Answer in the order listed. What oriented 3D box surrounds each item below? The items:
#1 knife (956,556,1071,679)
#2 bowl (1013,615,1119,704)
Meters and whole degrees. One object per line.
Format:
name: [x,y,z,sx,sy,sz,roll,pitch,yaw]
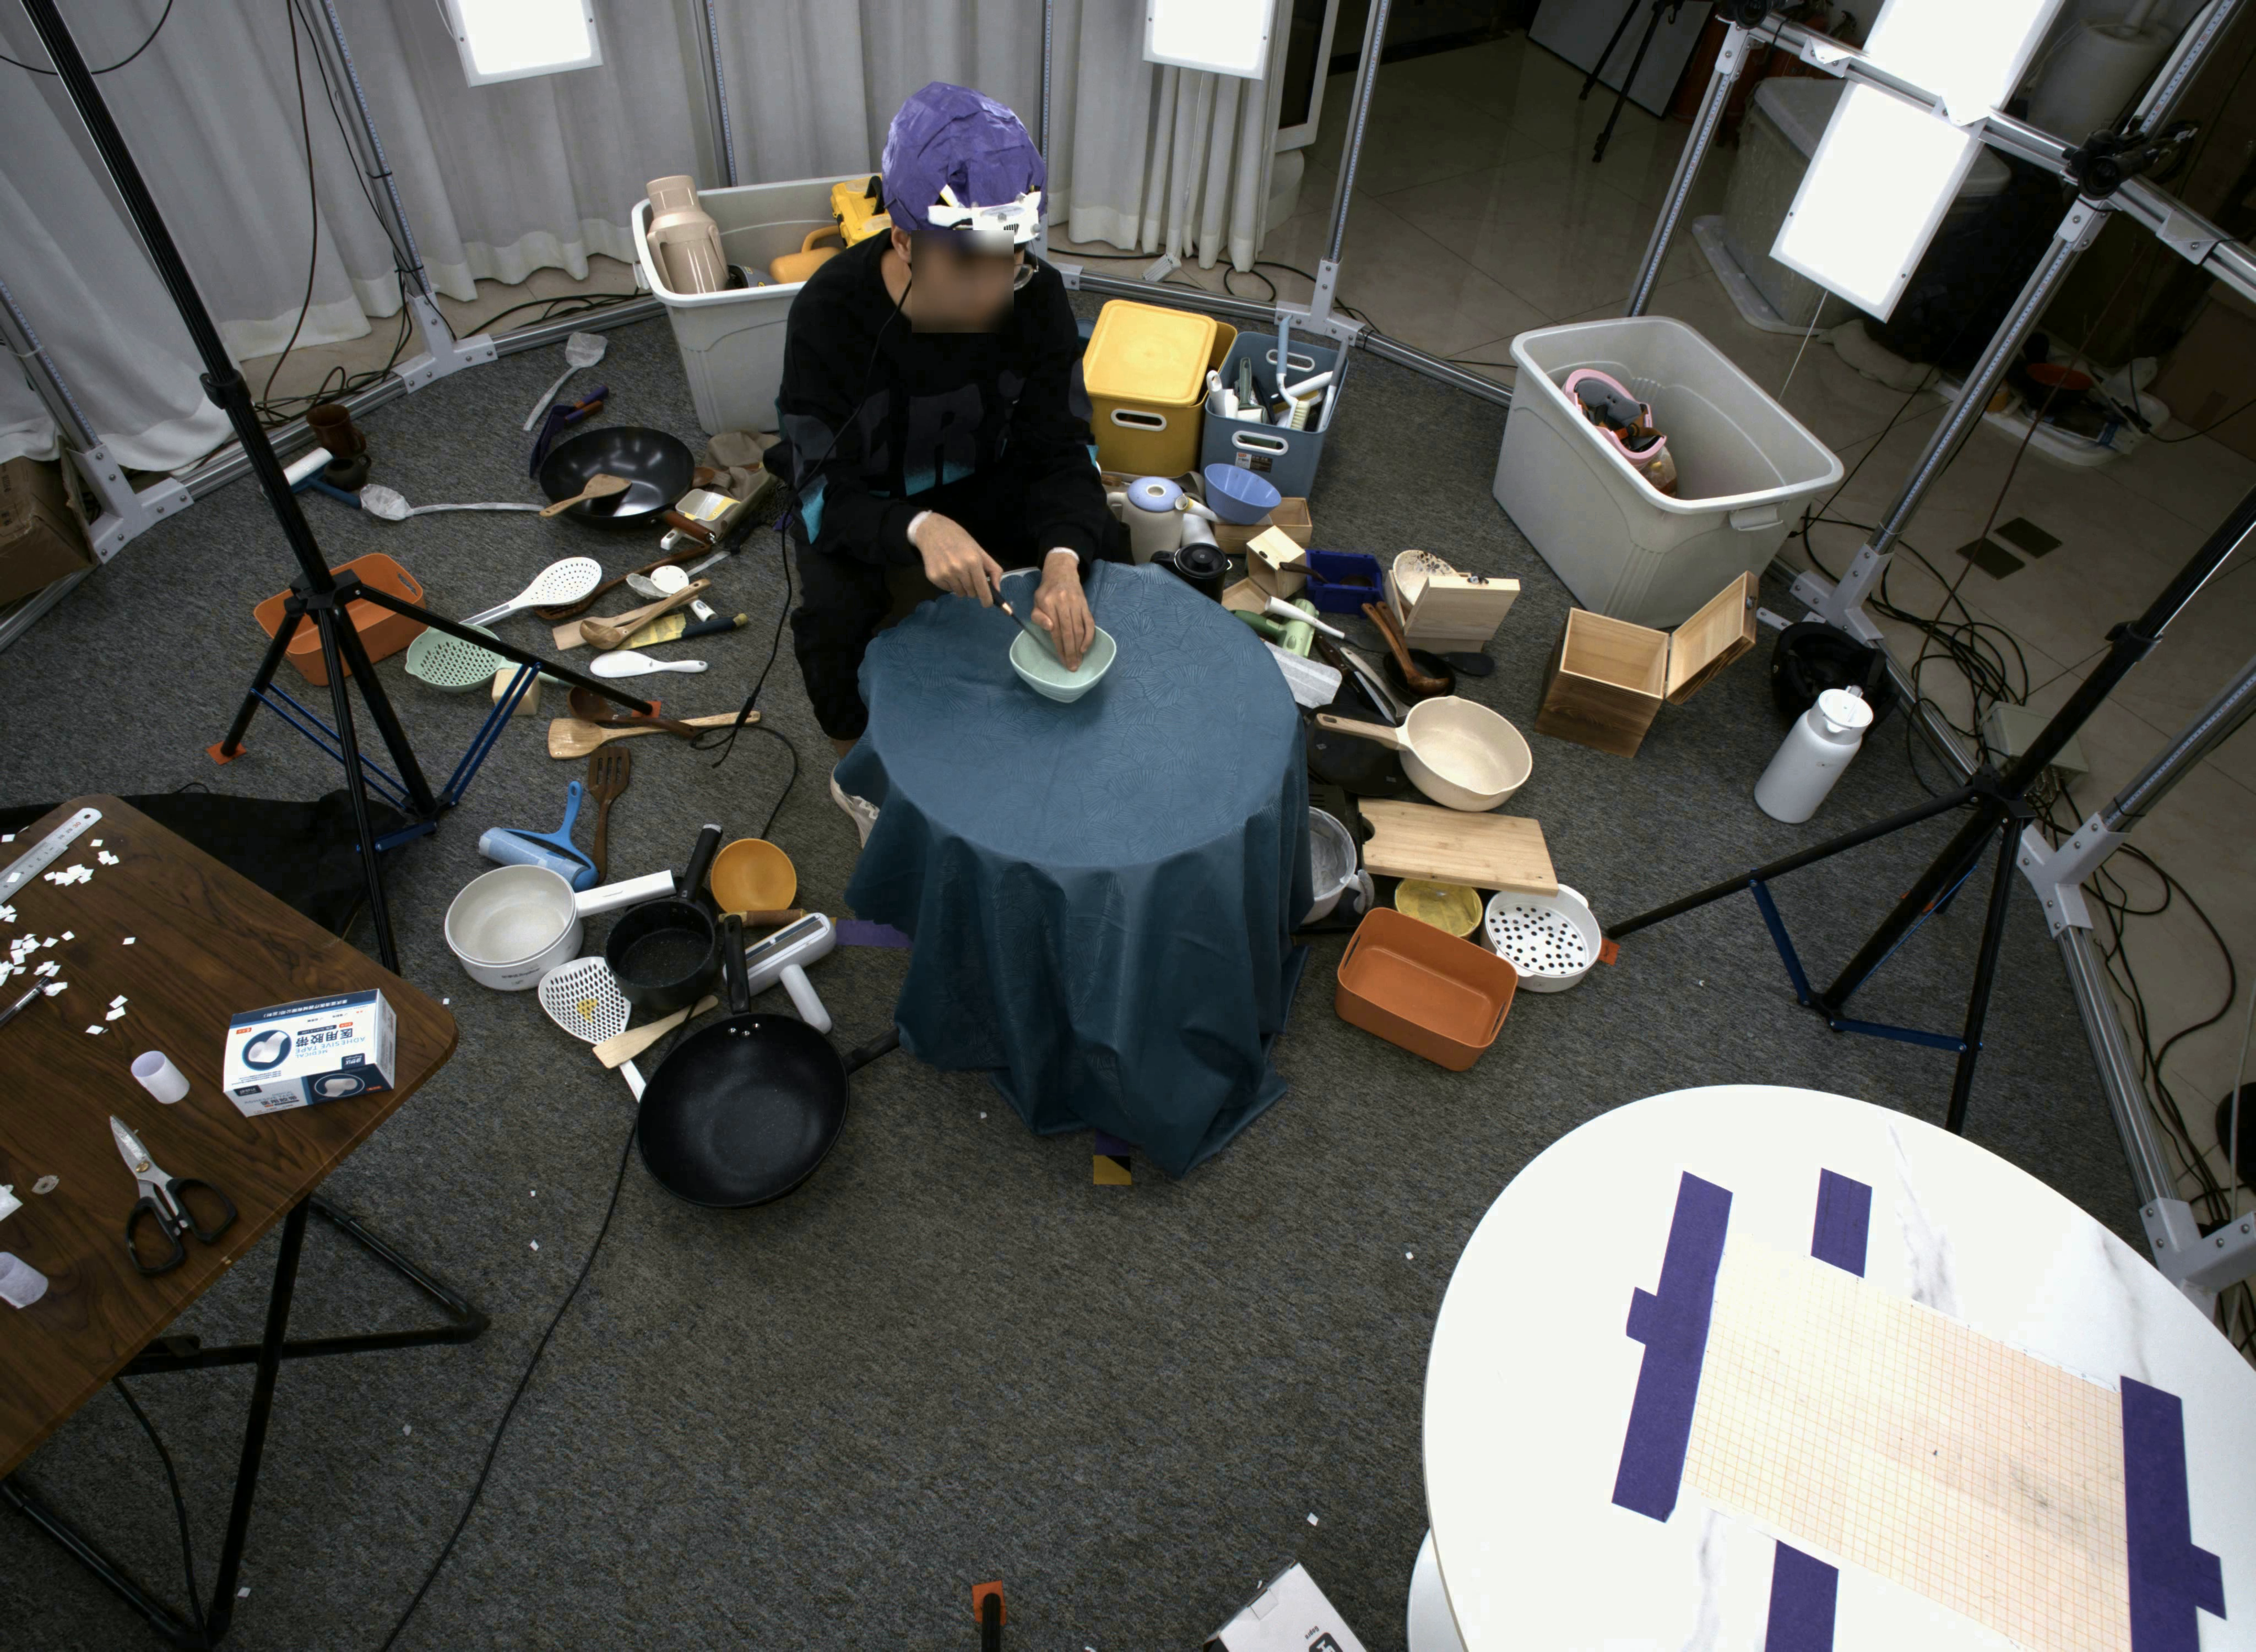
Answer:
knife: [-0.156,-0.288,1.787,0.017,0.026,0.224,-45,96,-11]
bowl: [-0.088,-0.228,1.826,0.151,0.057,0.155,1,50,-2]
